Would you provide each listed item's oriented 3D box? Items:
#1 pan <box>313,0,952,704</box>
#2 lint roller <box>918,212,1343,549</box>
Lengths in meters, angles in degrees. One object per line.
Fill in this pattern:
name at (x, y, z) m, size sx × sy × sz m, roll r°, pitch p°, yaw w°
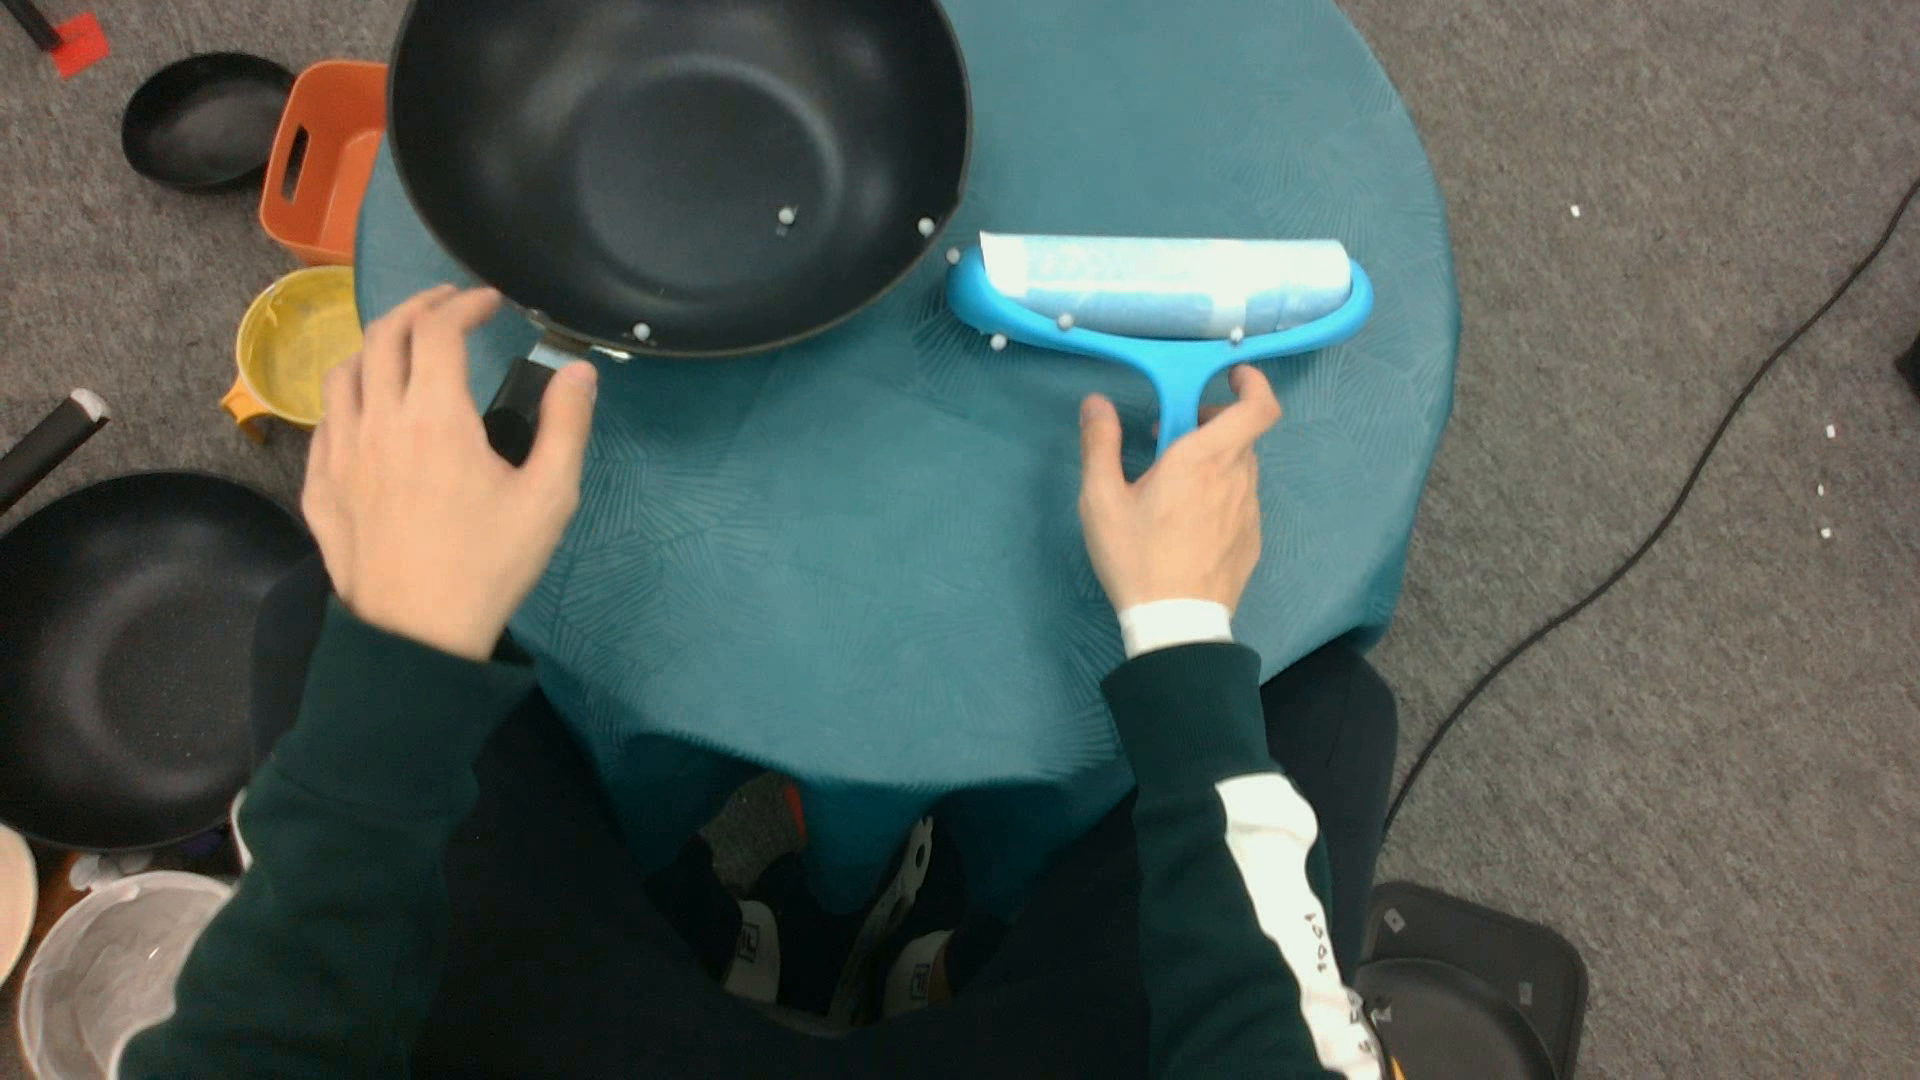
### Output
pan at (-0.180, -0.129, 0.684) m, size 0.288 × 0.086 × 0.464 m, roll 21°, pitch 73°, yaw 0°
lint roller at (0.099, -0.090, 0.720) m, size 0.229 × 0.067 × 0.180 m, roll -4°, pitch 74°, yaw -10°
